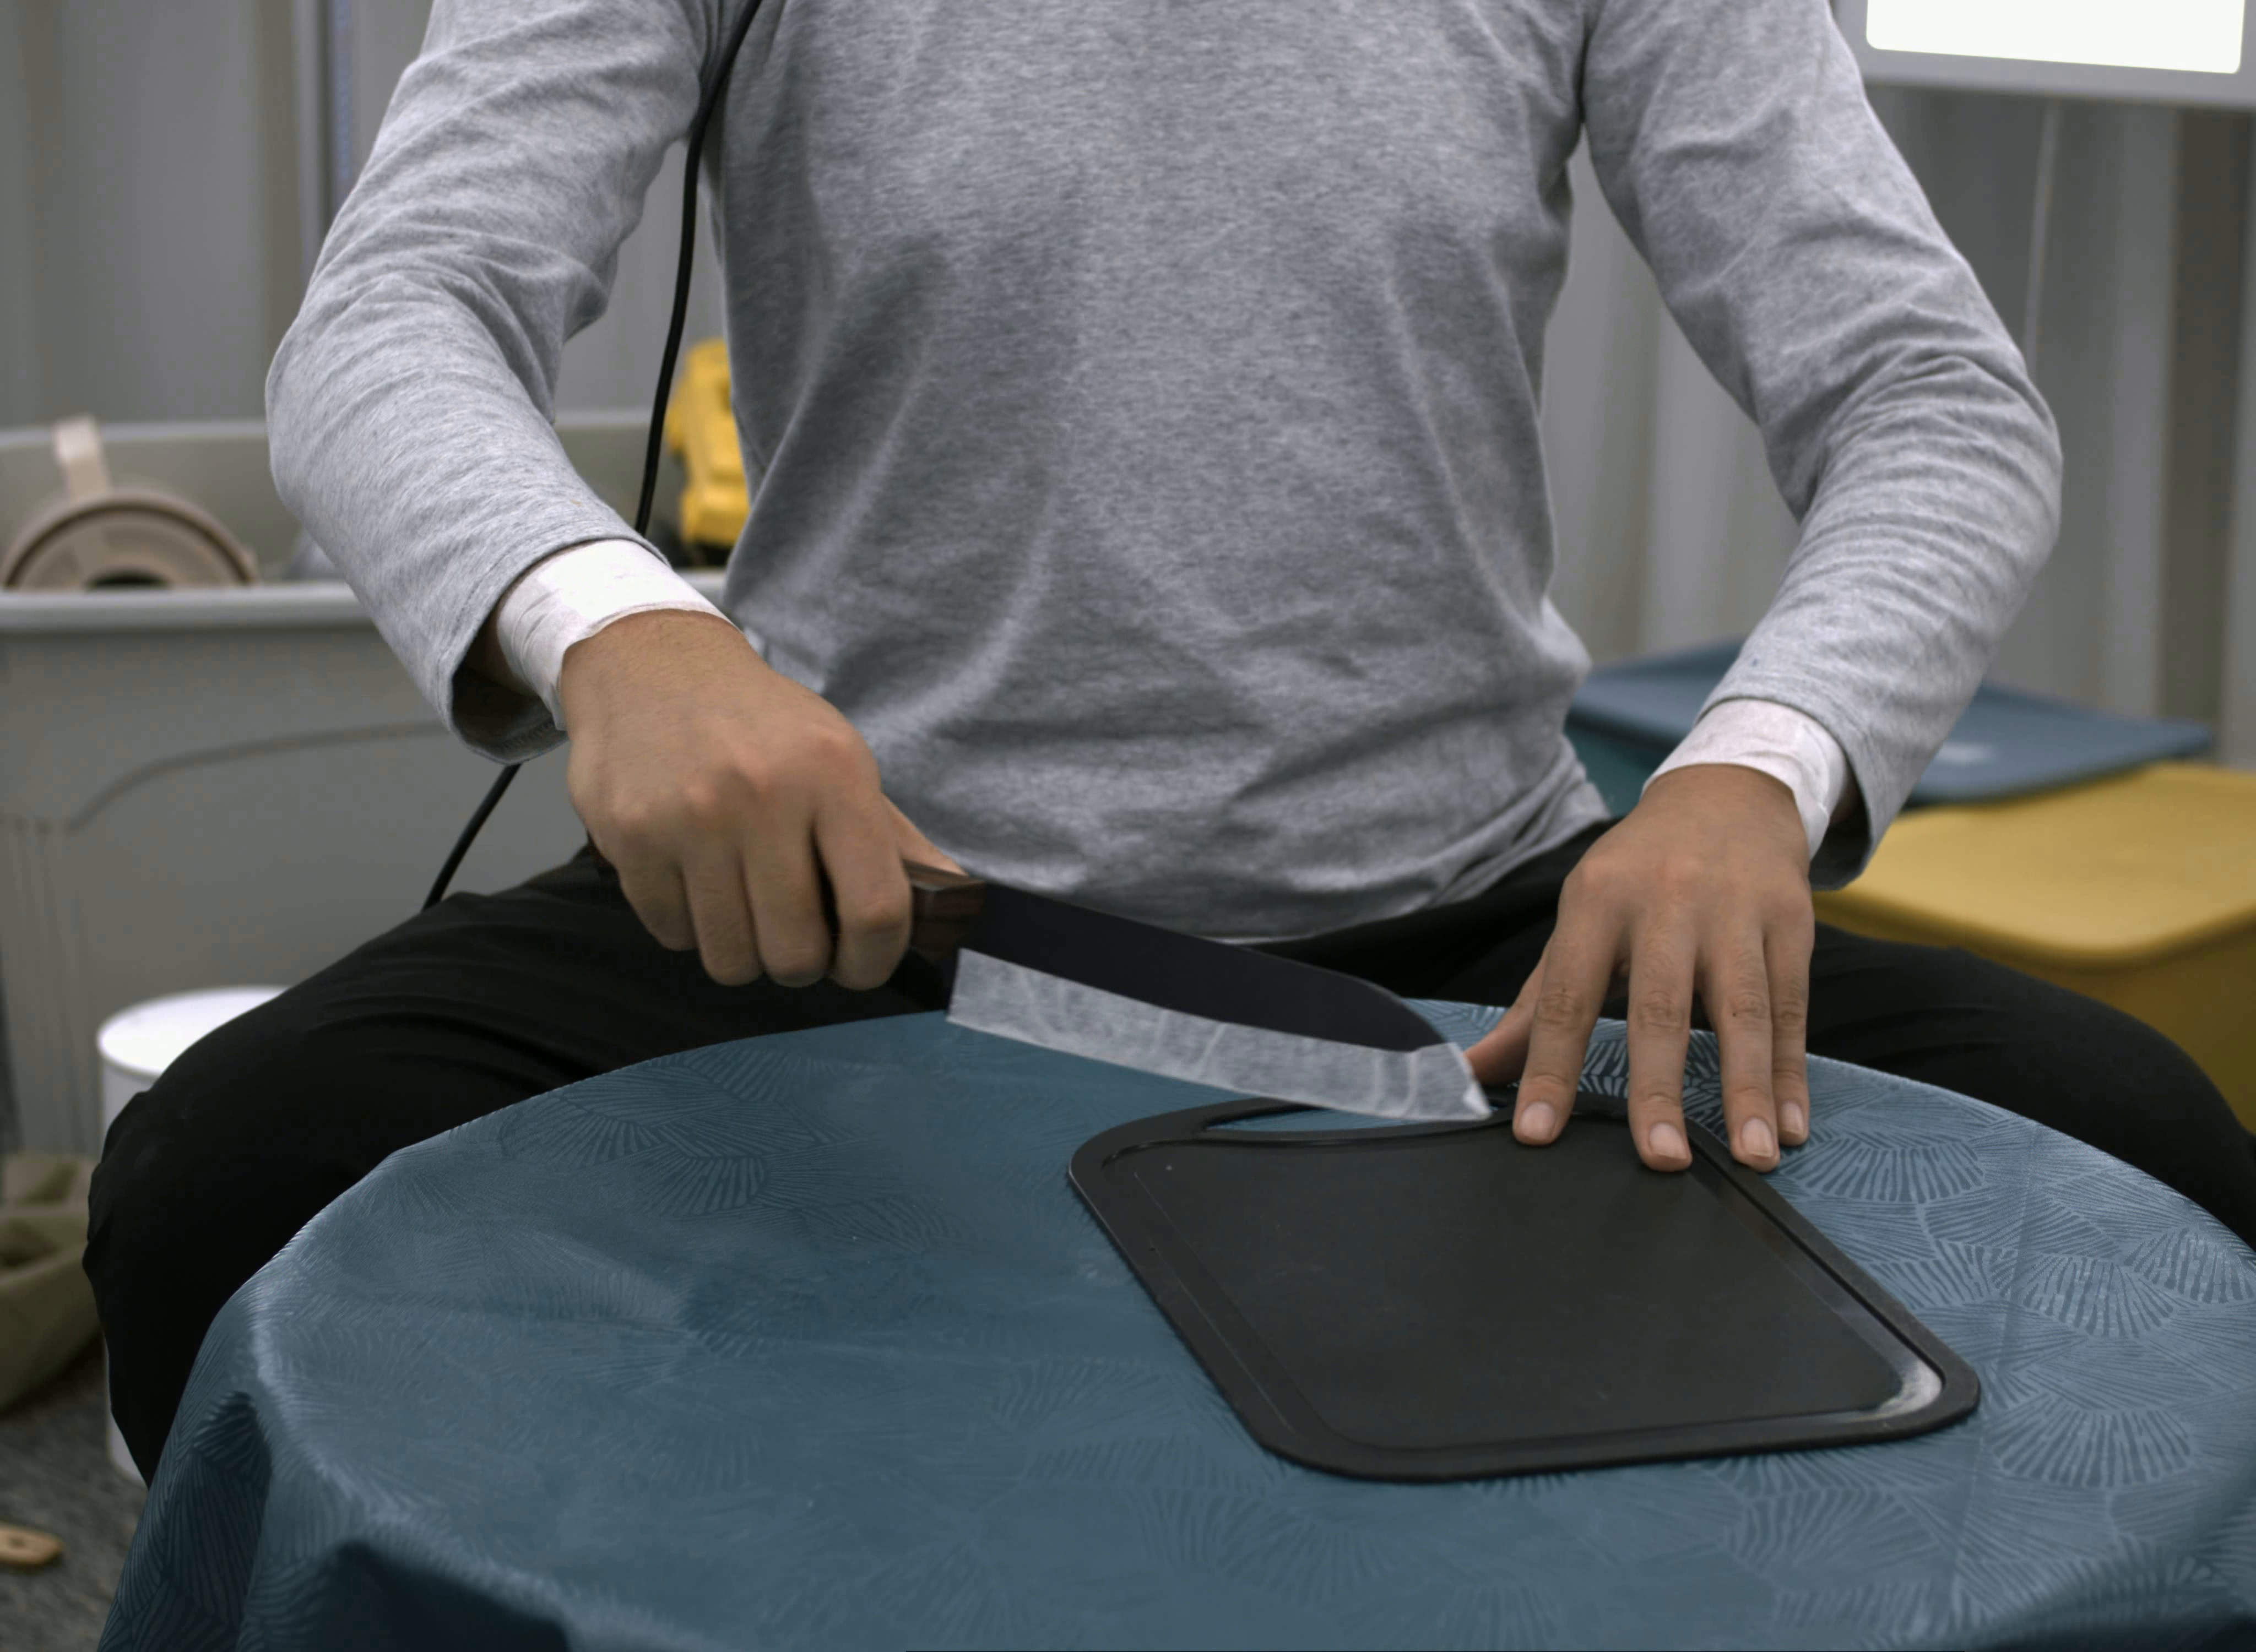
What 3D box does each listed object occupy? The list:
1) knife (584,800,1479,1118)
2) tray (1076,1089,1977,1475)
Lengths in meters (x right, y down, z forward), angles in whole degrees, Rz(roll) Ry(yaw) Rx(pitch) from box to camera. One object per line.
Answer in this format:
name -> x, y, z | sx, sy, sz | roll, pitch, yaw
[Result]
knife -> -0.031, 0.039, 1.537 | 0.286, 0.050, 0.020 | 17, 13, 17
tray -> 0.107, 0.127, 1.564 | 0.211, 0.010, 0.322 | -3, 15, -13
